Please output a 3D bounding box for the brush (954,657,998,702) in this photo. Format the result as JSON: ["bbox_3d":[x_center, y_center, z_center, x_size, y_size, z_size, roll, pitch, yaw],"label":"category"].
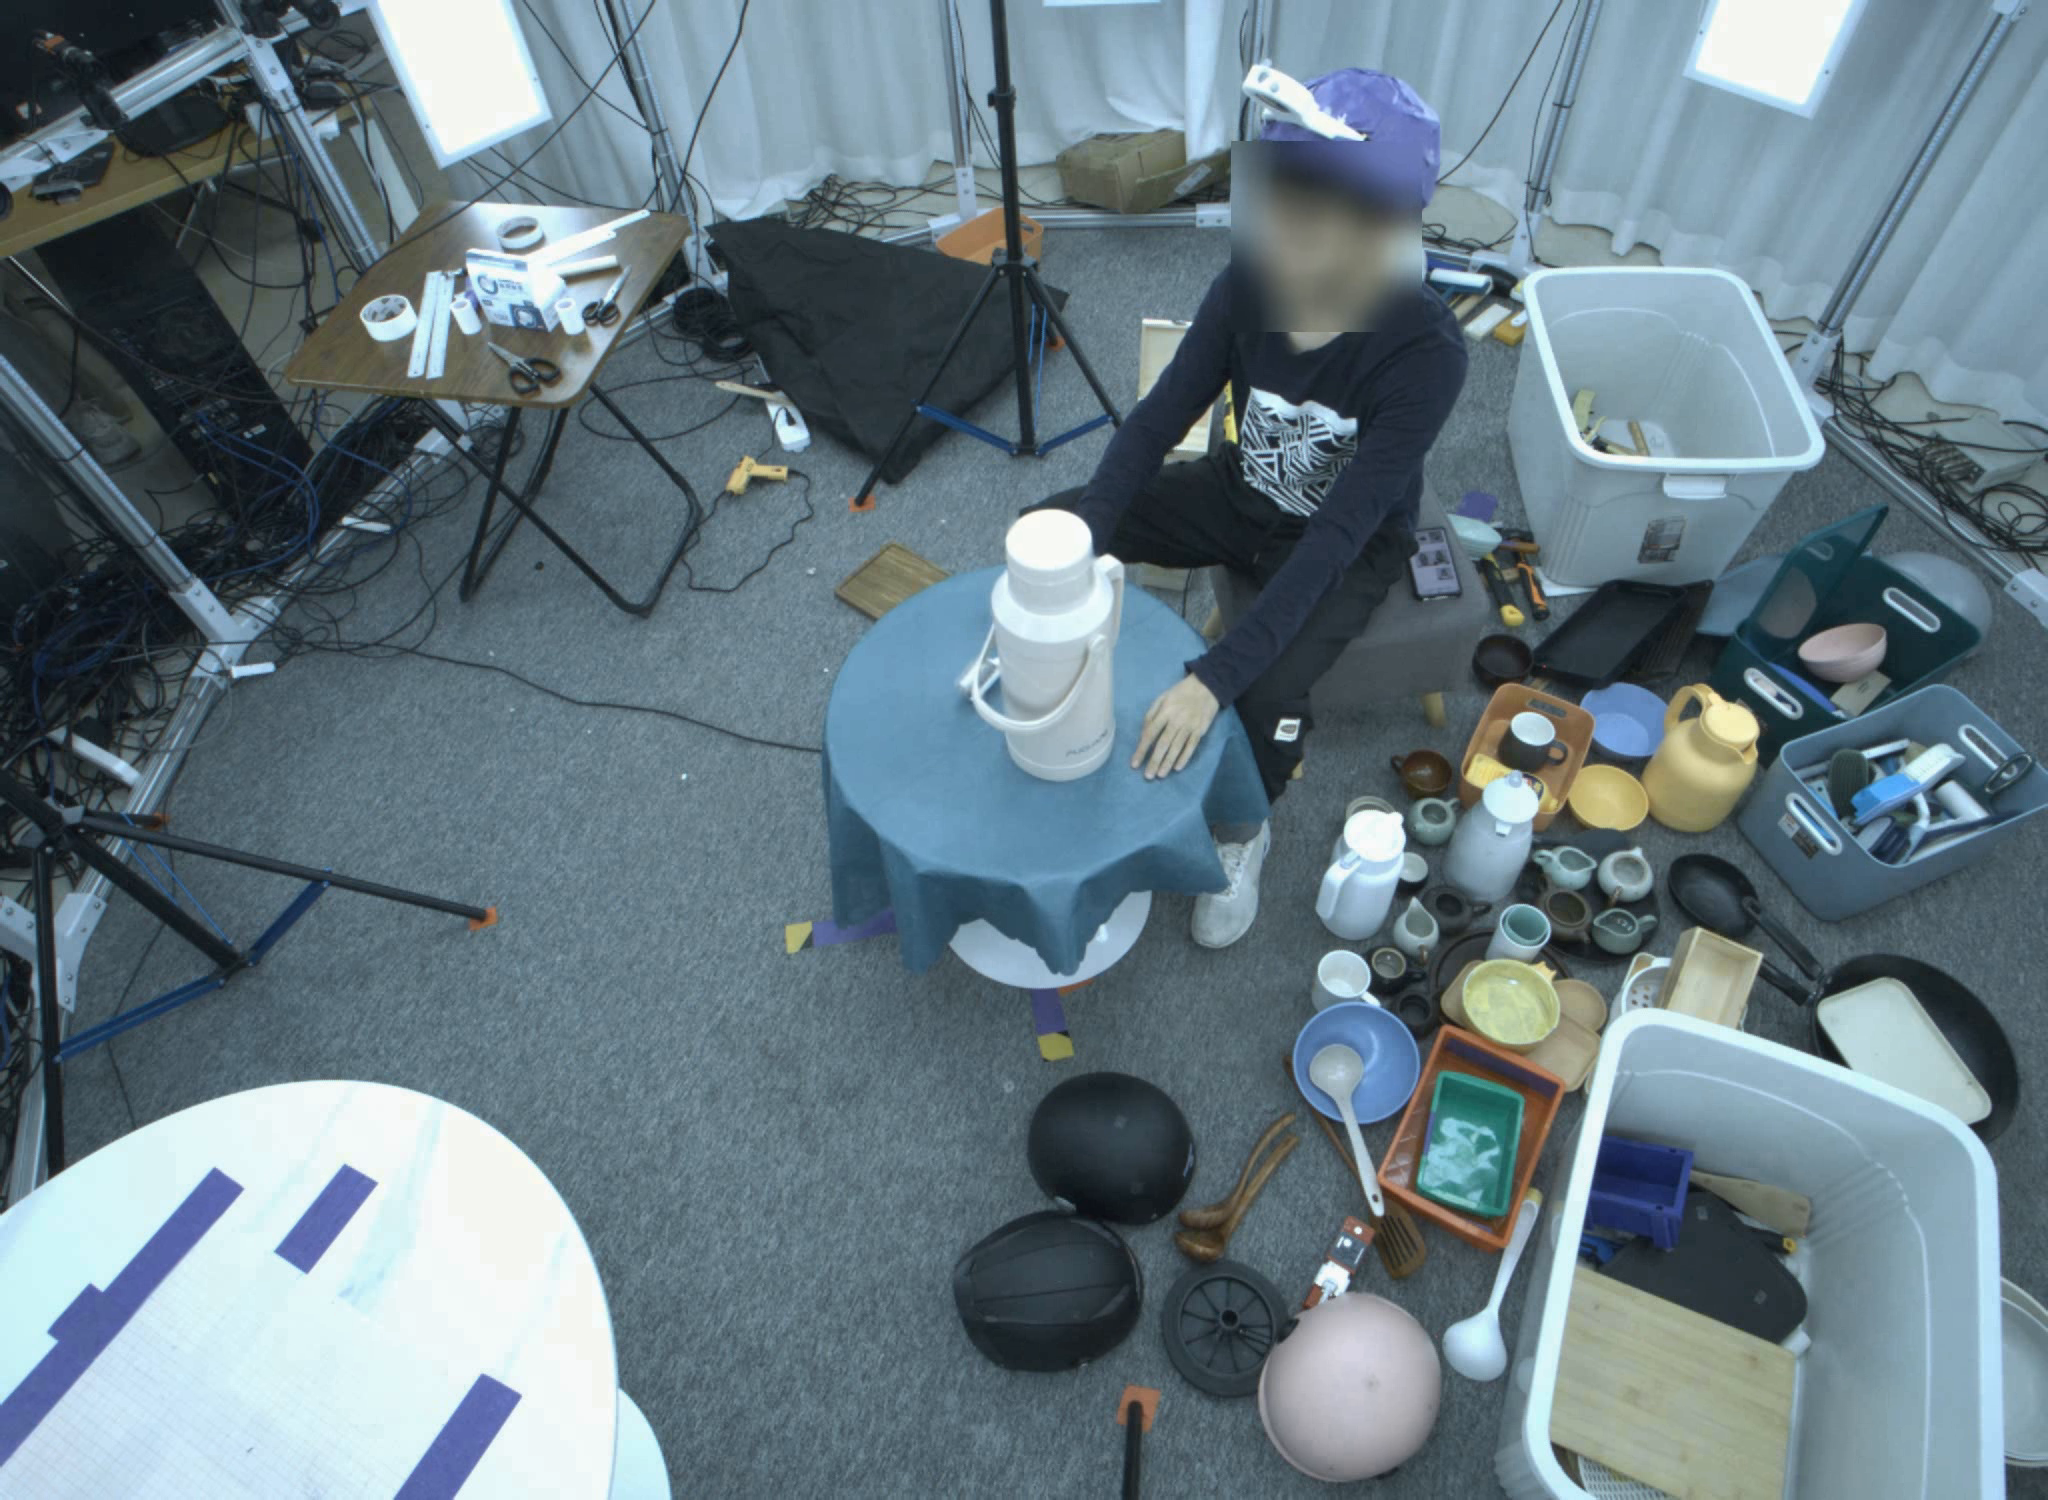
[{"bbox_3d":[-0.008,-0.156,1.862,0.245,0.051,0.034,-38,57,-22],"label":"brush"}]

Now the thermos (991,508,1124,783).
[{"bbox_3d":[0.053,-0.141,1.634,0.208,0.411,0.172,-38,59,-22],"label":"thermos"}]
